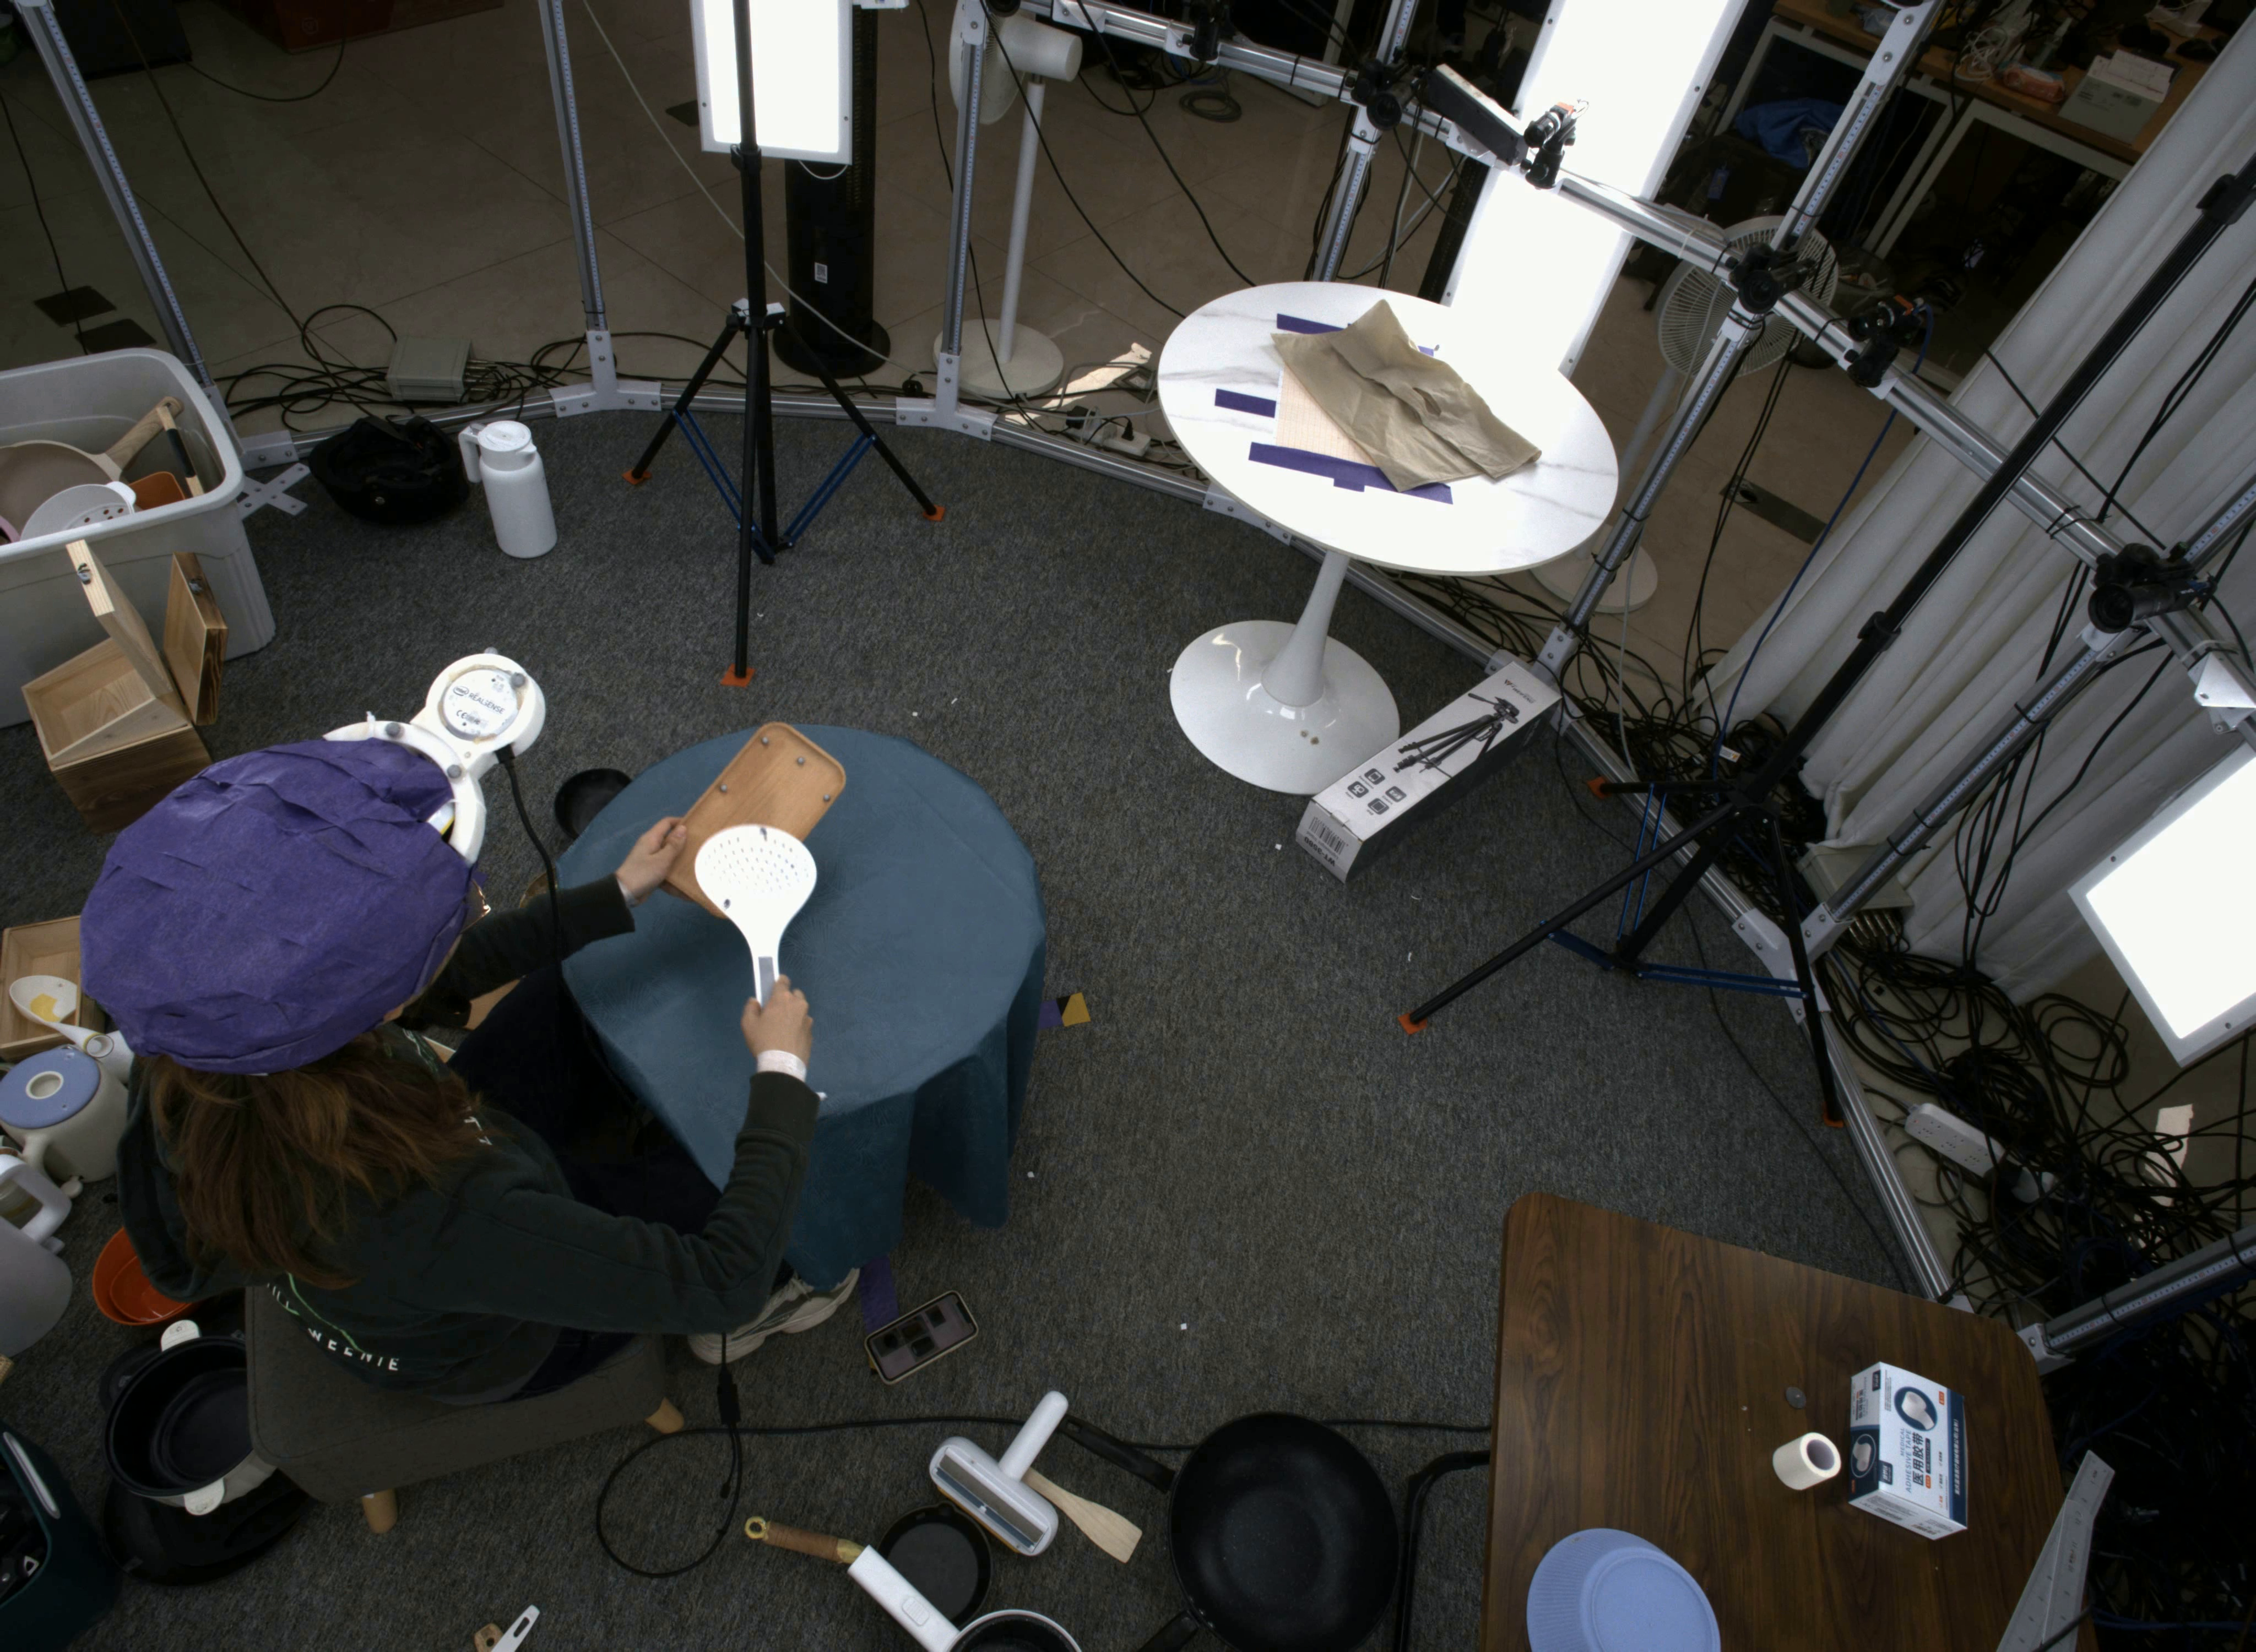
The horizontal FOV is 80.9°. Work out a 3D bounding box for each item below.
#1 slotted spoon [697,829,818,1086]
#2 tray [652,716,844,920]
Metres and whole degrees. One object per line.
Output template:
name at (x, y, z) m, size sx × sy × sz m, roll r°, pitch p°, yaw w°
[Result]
slotted spoon at (-0.400, 0.134, 1.427) m, size 0.137 × 0.047 × 0.339 m, roll -1°, pitch 43°, yaw -21°
tray at (-0.458, -0.013, 1.566) m, size 0.132 × 0.022 × 0.250 m, roll 38°, pitch 64°, yaw -10°
